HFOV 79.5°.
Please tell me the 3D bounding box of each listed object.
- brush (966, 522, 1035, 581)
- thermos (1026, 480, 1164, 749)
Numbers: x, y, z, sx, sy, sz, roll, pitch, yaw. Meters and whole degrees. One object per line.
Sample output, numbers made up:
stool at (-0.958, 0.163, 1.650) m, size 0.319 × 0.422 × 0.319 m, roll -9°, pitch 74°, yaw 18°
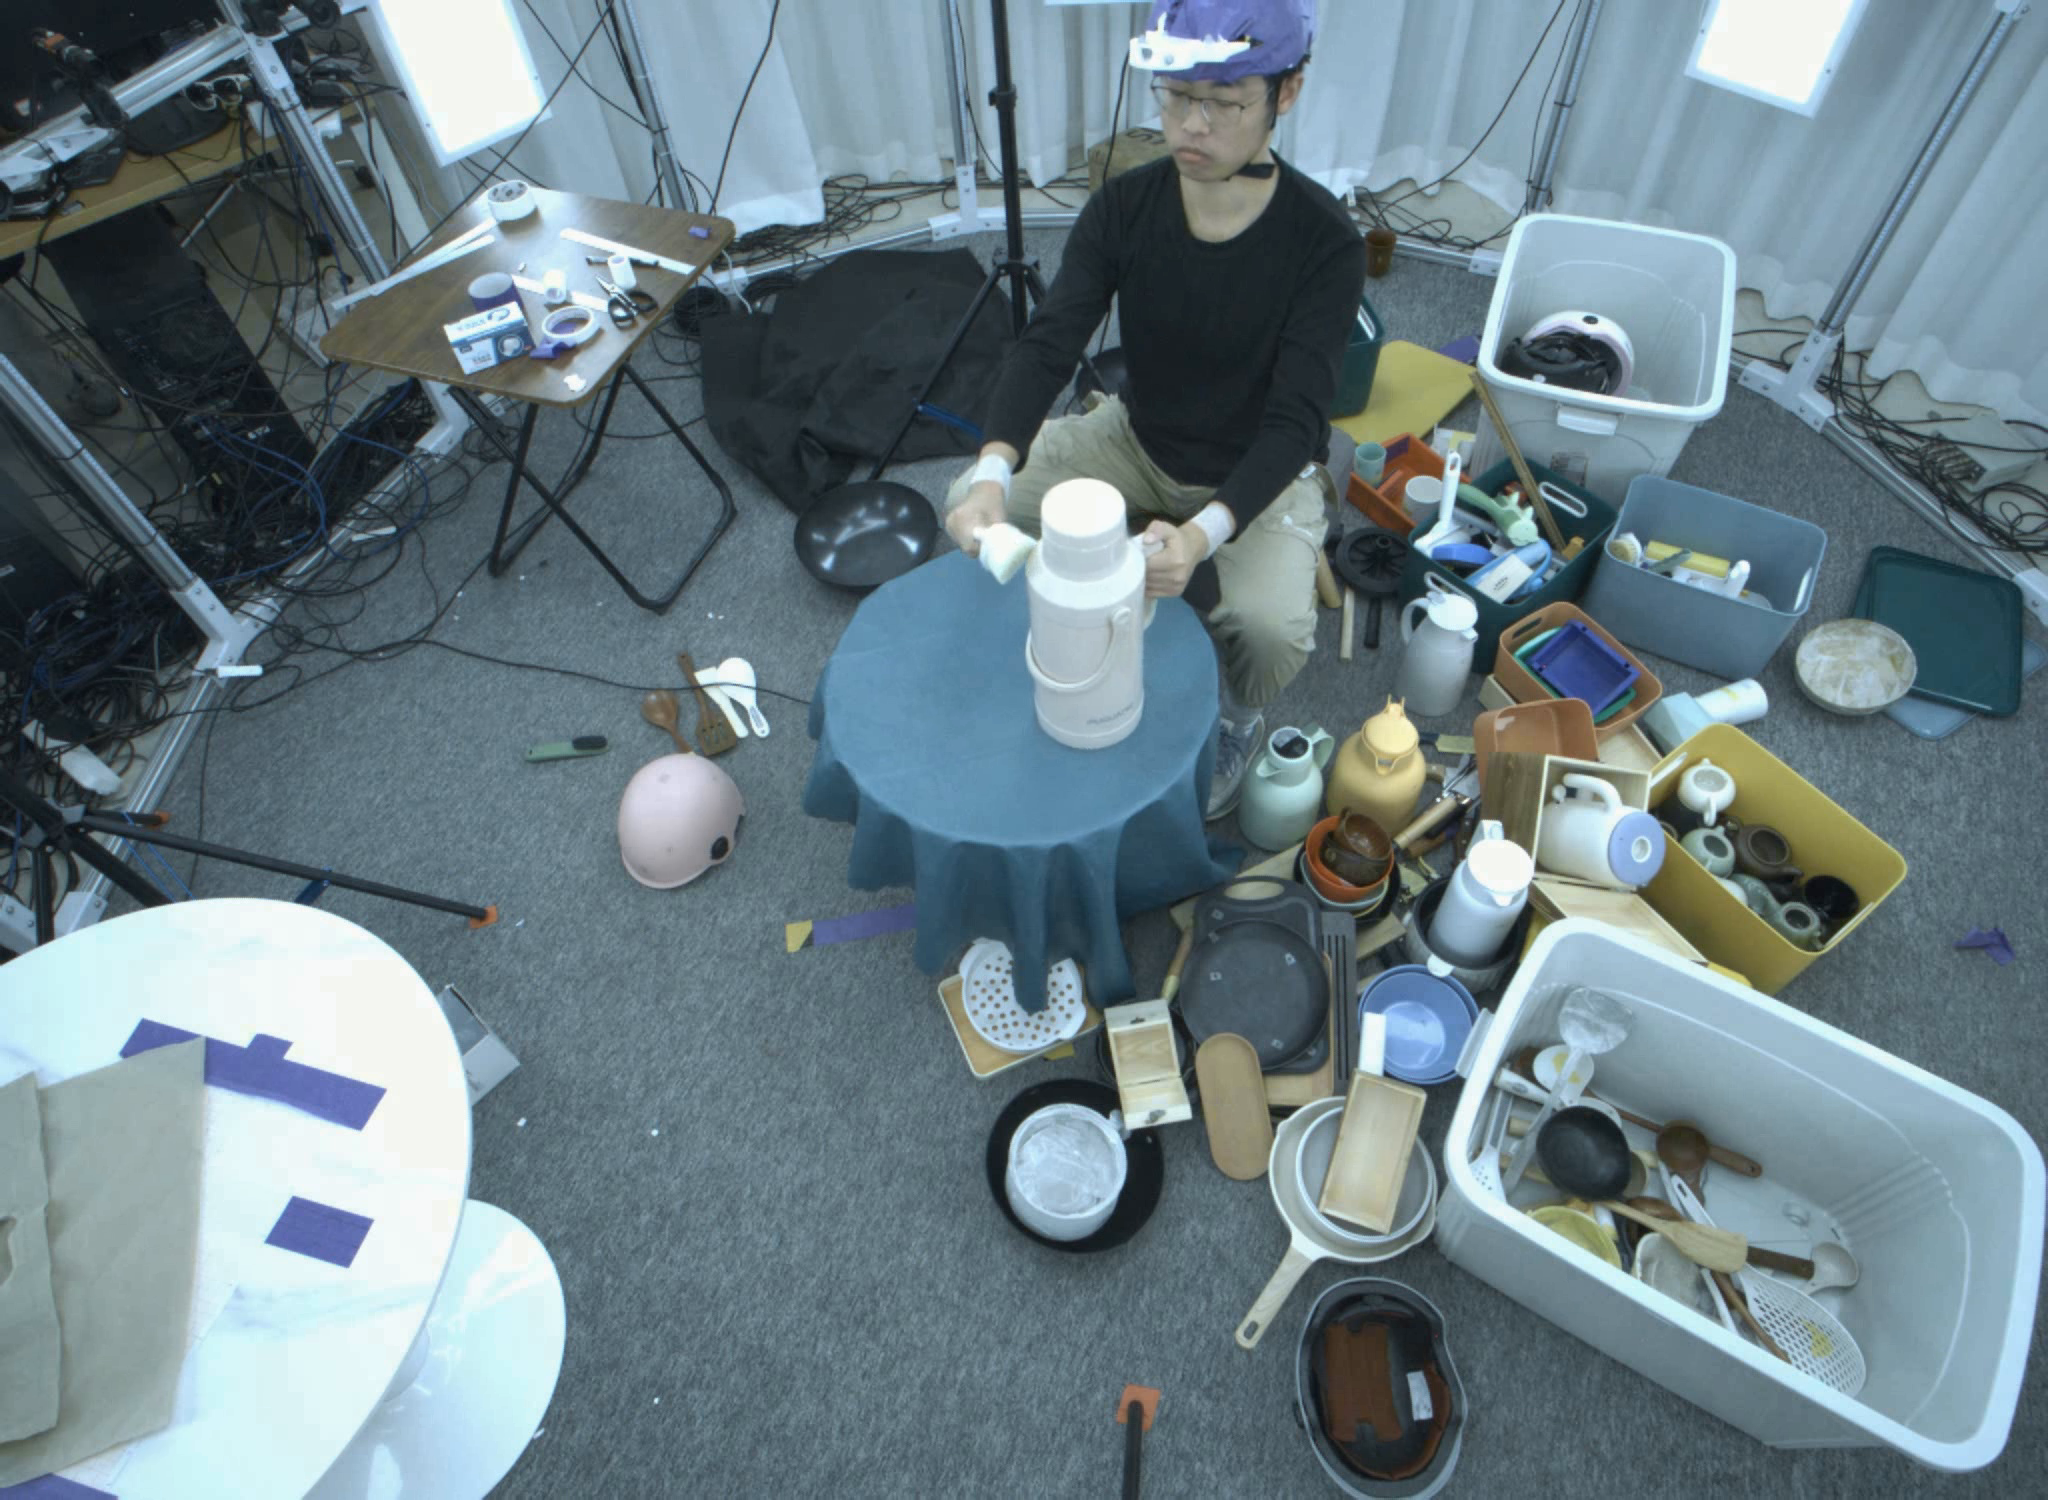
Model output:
brush at (-0.031, -0.279, 1.700) m, size 0.083 × 0.323 × 0.085 m, roll -10°, pitch 100°, yaw -3°
thermos at (0.099, -0.186, 1.671) m, size 0.208 × 0.411 × 0.172 m, roll -30°, pitch 57°, yaw -16°
